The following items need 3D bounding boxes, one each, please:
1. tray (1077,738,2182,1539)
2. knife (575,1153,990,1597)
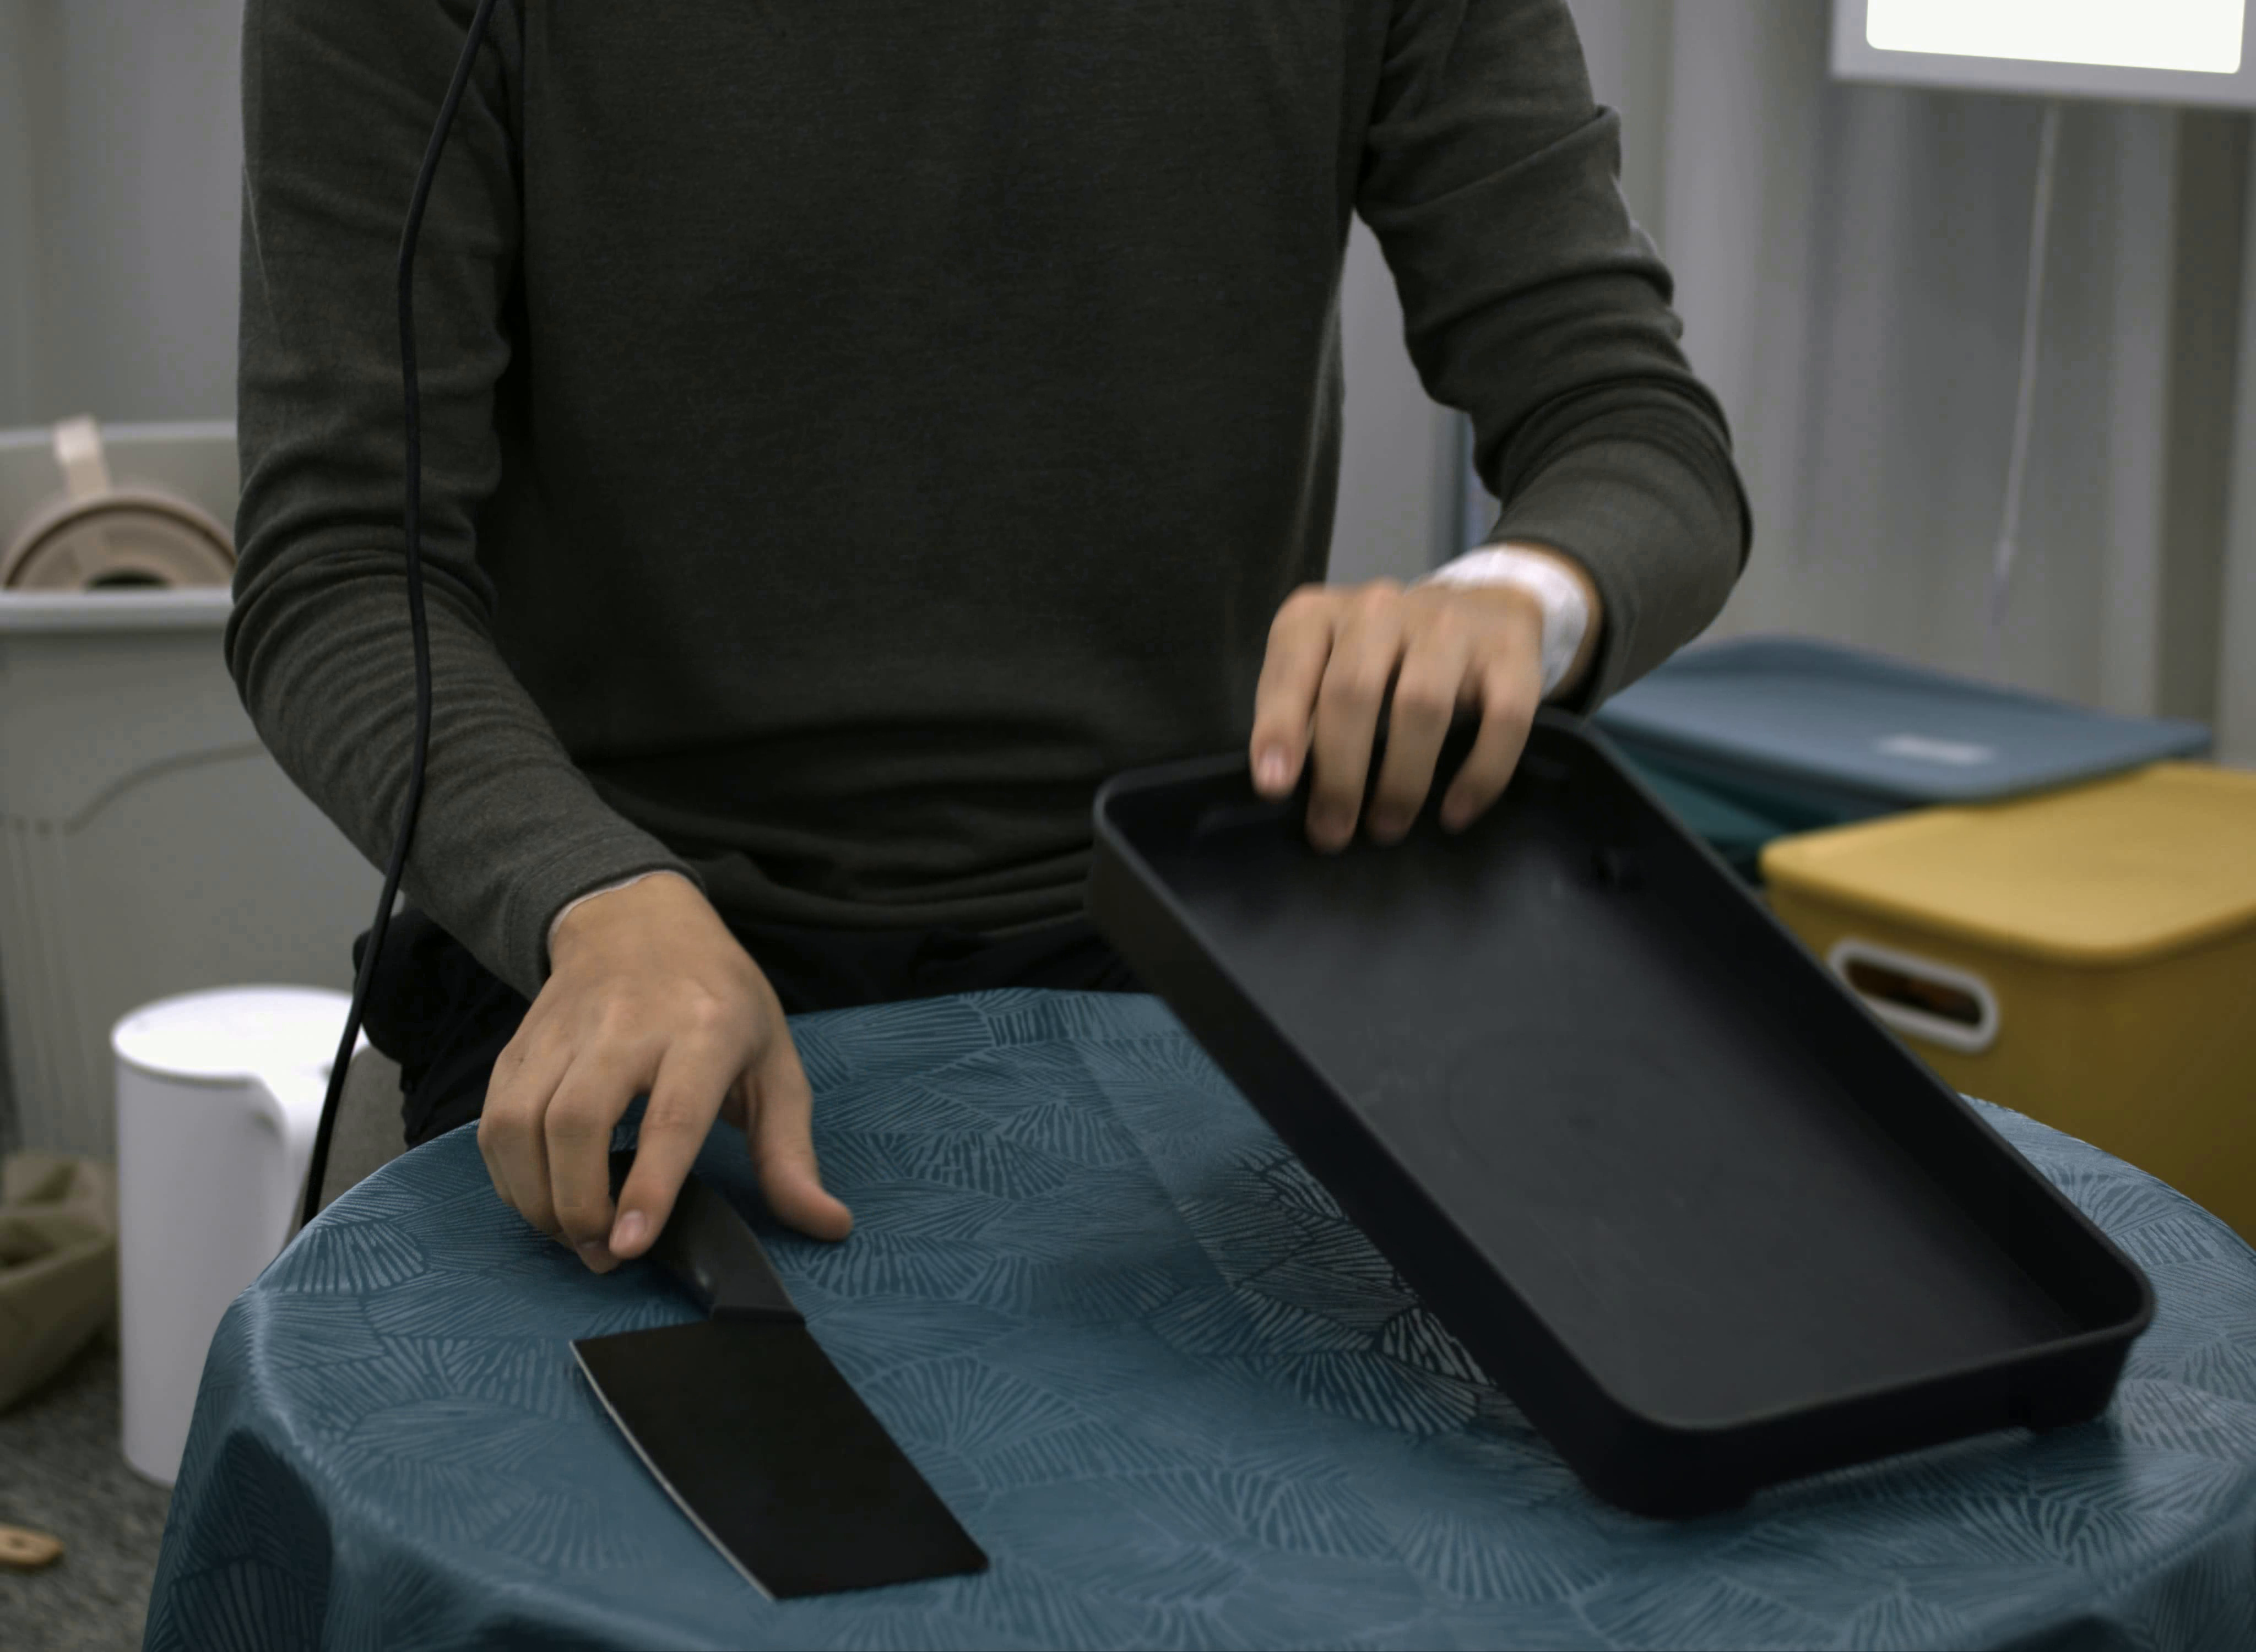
[{"bbox_3d":[0.135,0.080,1.502,0.185,0.037,0.313,-11,38,-33],"label":"tray"},{"bbox_3d":[-0.112,0.149,1.460,0.081,0.021,0.299,-3,18,-16],"label":"knife"}]
